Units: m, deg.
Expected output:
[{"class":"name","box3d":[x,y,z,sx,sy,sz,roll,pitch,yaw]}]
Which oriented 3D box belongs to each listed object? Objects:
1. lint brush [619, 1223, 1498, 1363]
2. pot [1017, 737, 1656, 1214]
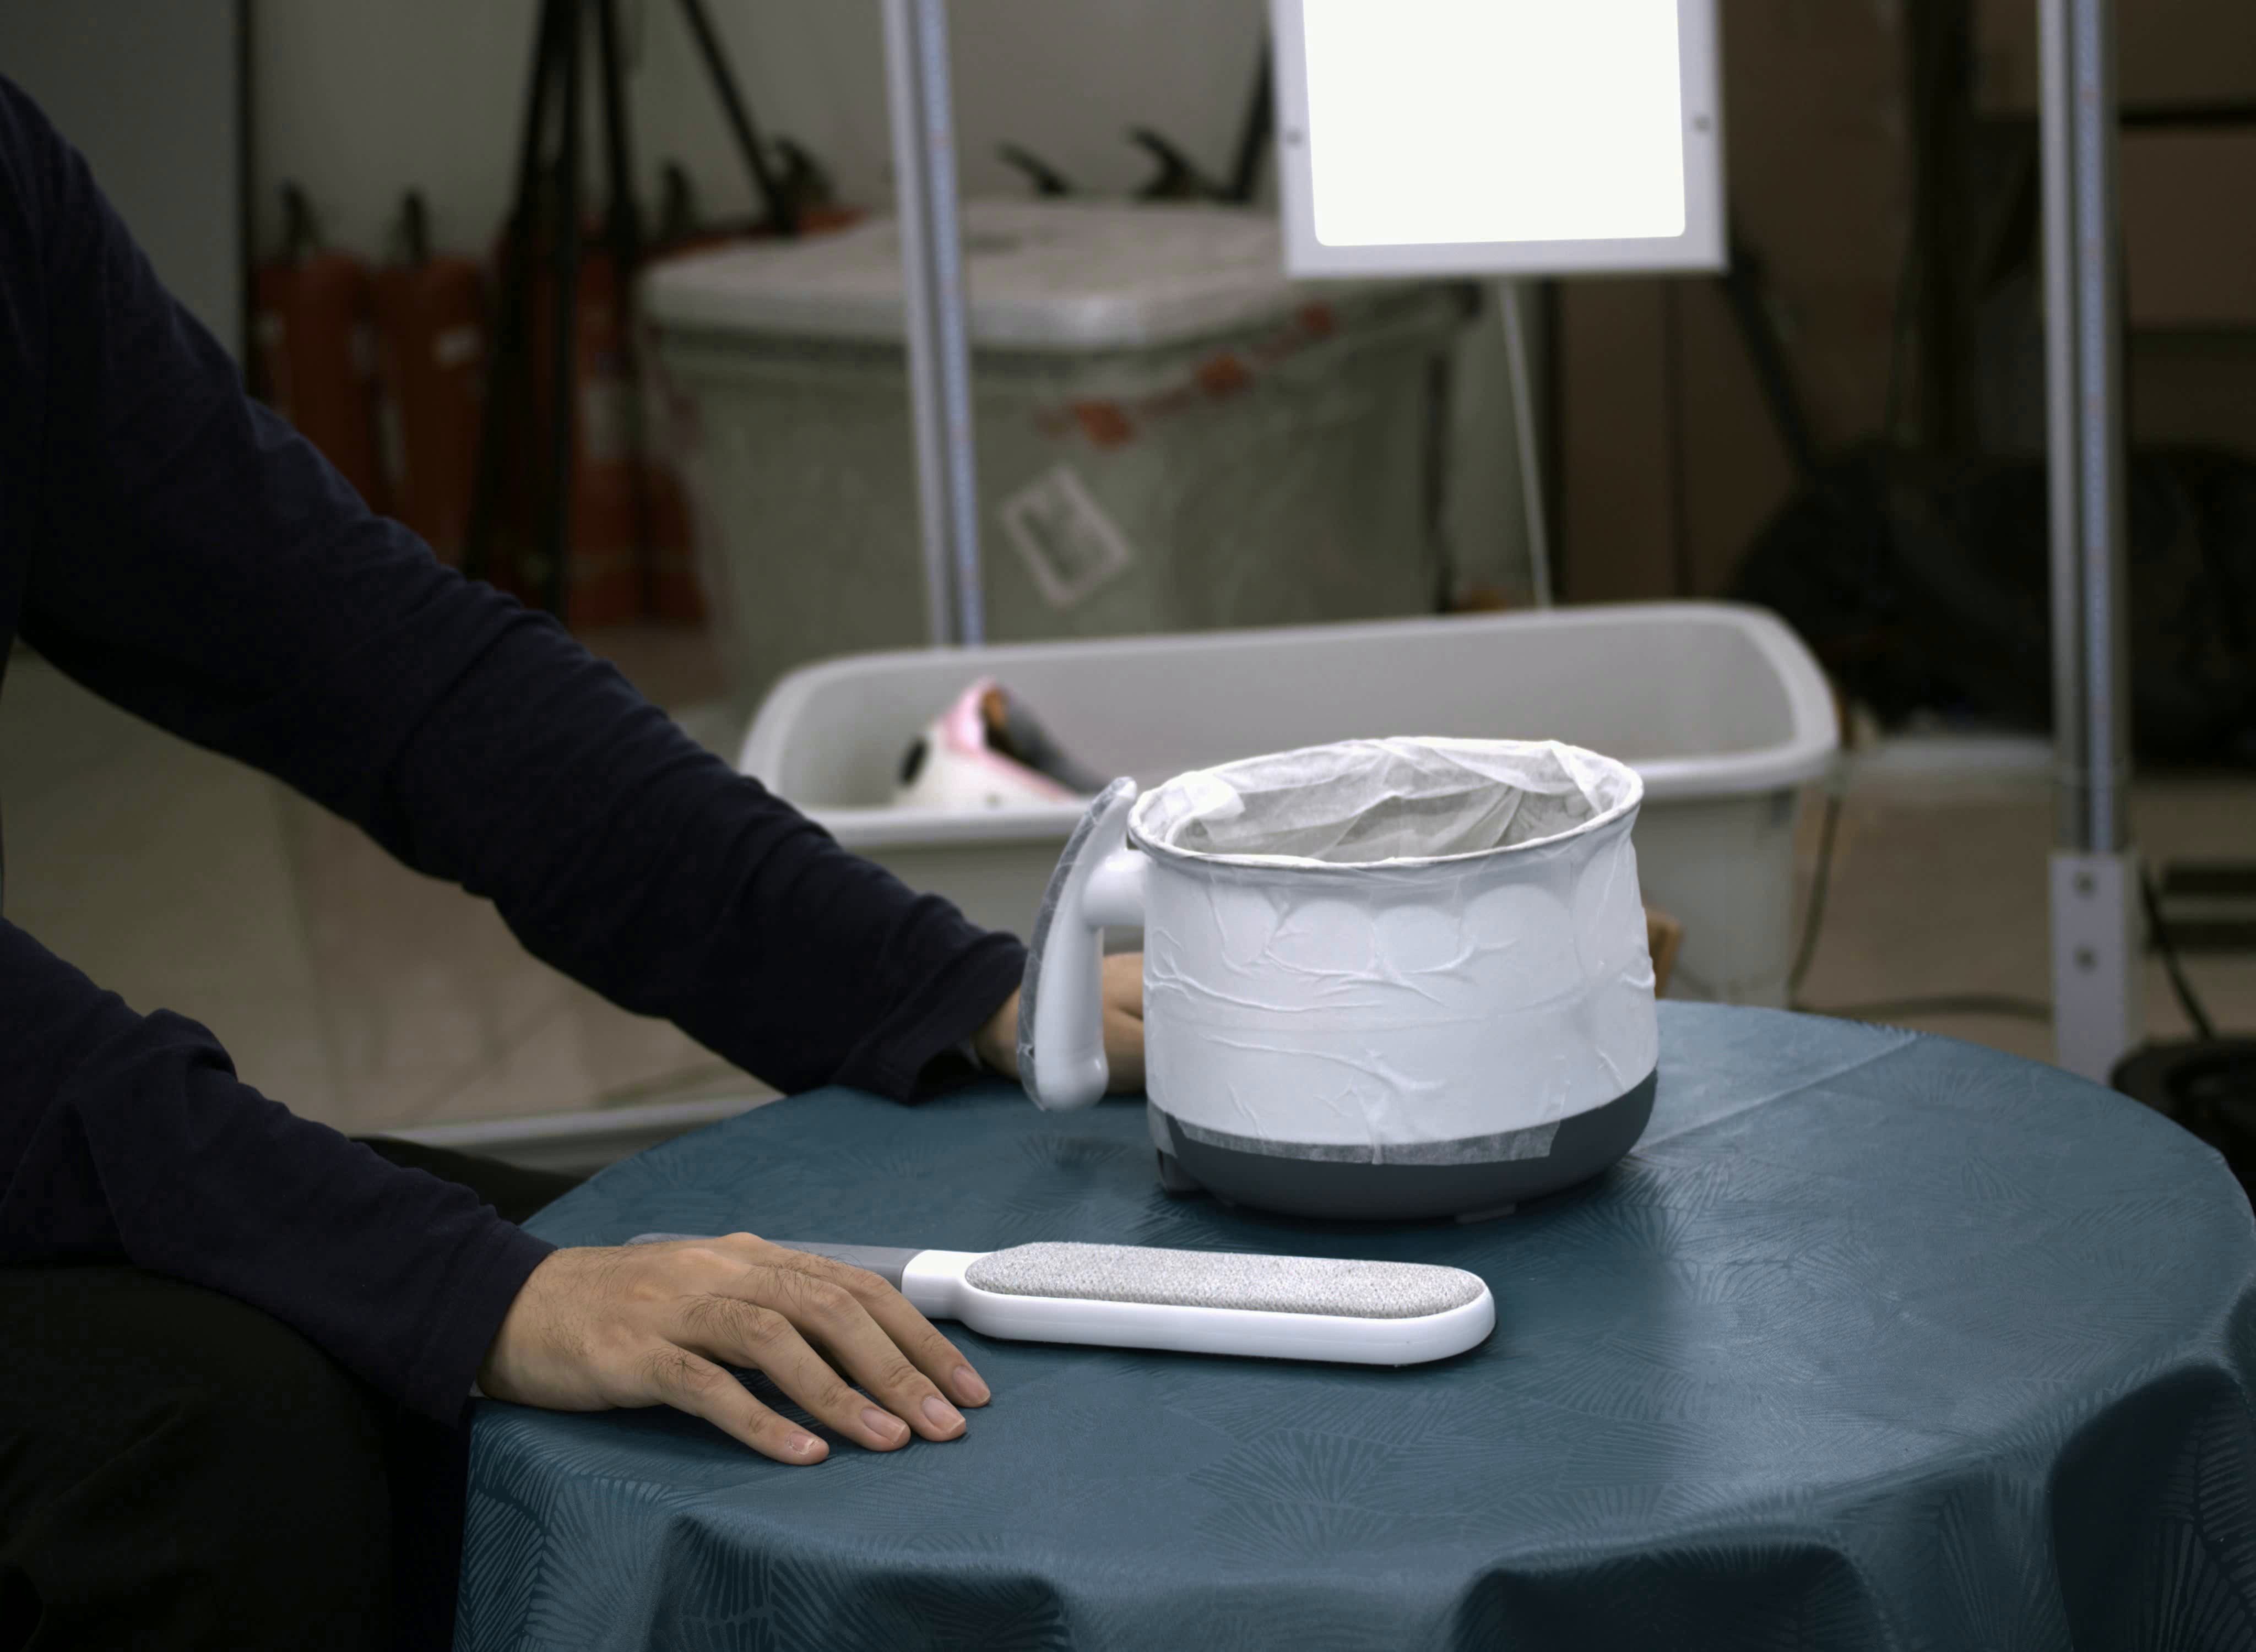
[{"class":"lint brush","box3d":[-0.028,0.147,1.775,0.314,0.021,0.059,2,21,27]},{"class":"pot","box3d":[0.068,0.048,1.899,0.237,0.137,0.175,3,13,26]}]
